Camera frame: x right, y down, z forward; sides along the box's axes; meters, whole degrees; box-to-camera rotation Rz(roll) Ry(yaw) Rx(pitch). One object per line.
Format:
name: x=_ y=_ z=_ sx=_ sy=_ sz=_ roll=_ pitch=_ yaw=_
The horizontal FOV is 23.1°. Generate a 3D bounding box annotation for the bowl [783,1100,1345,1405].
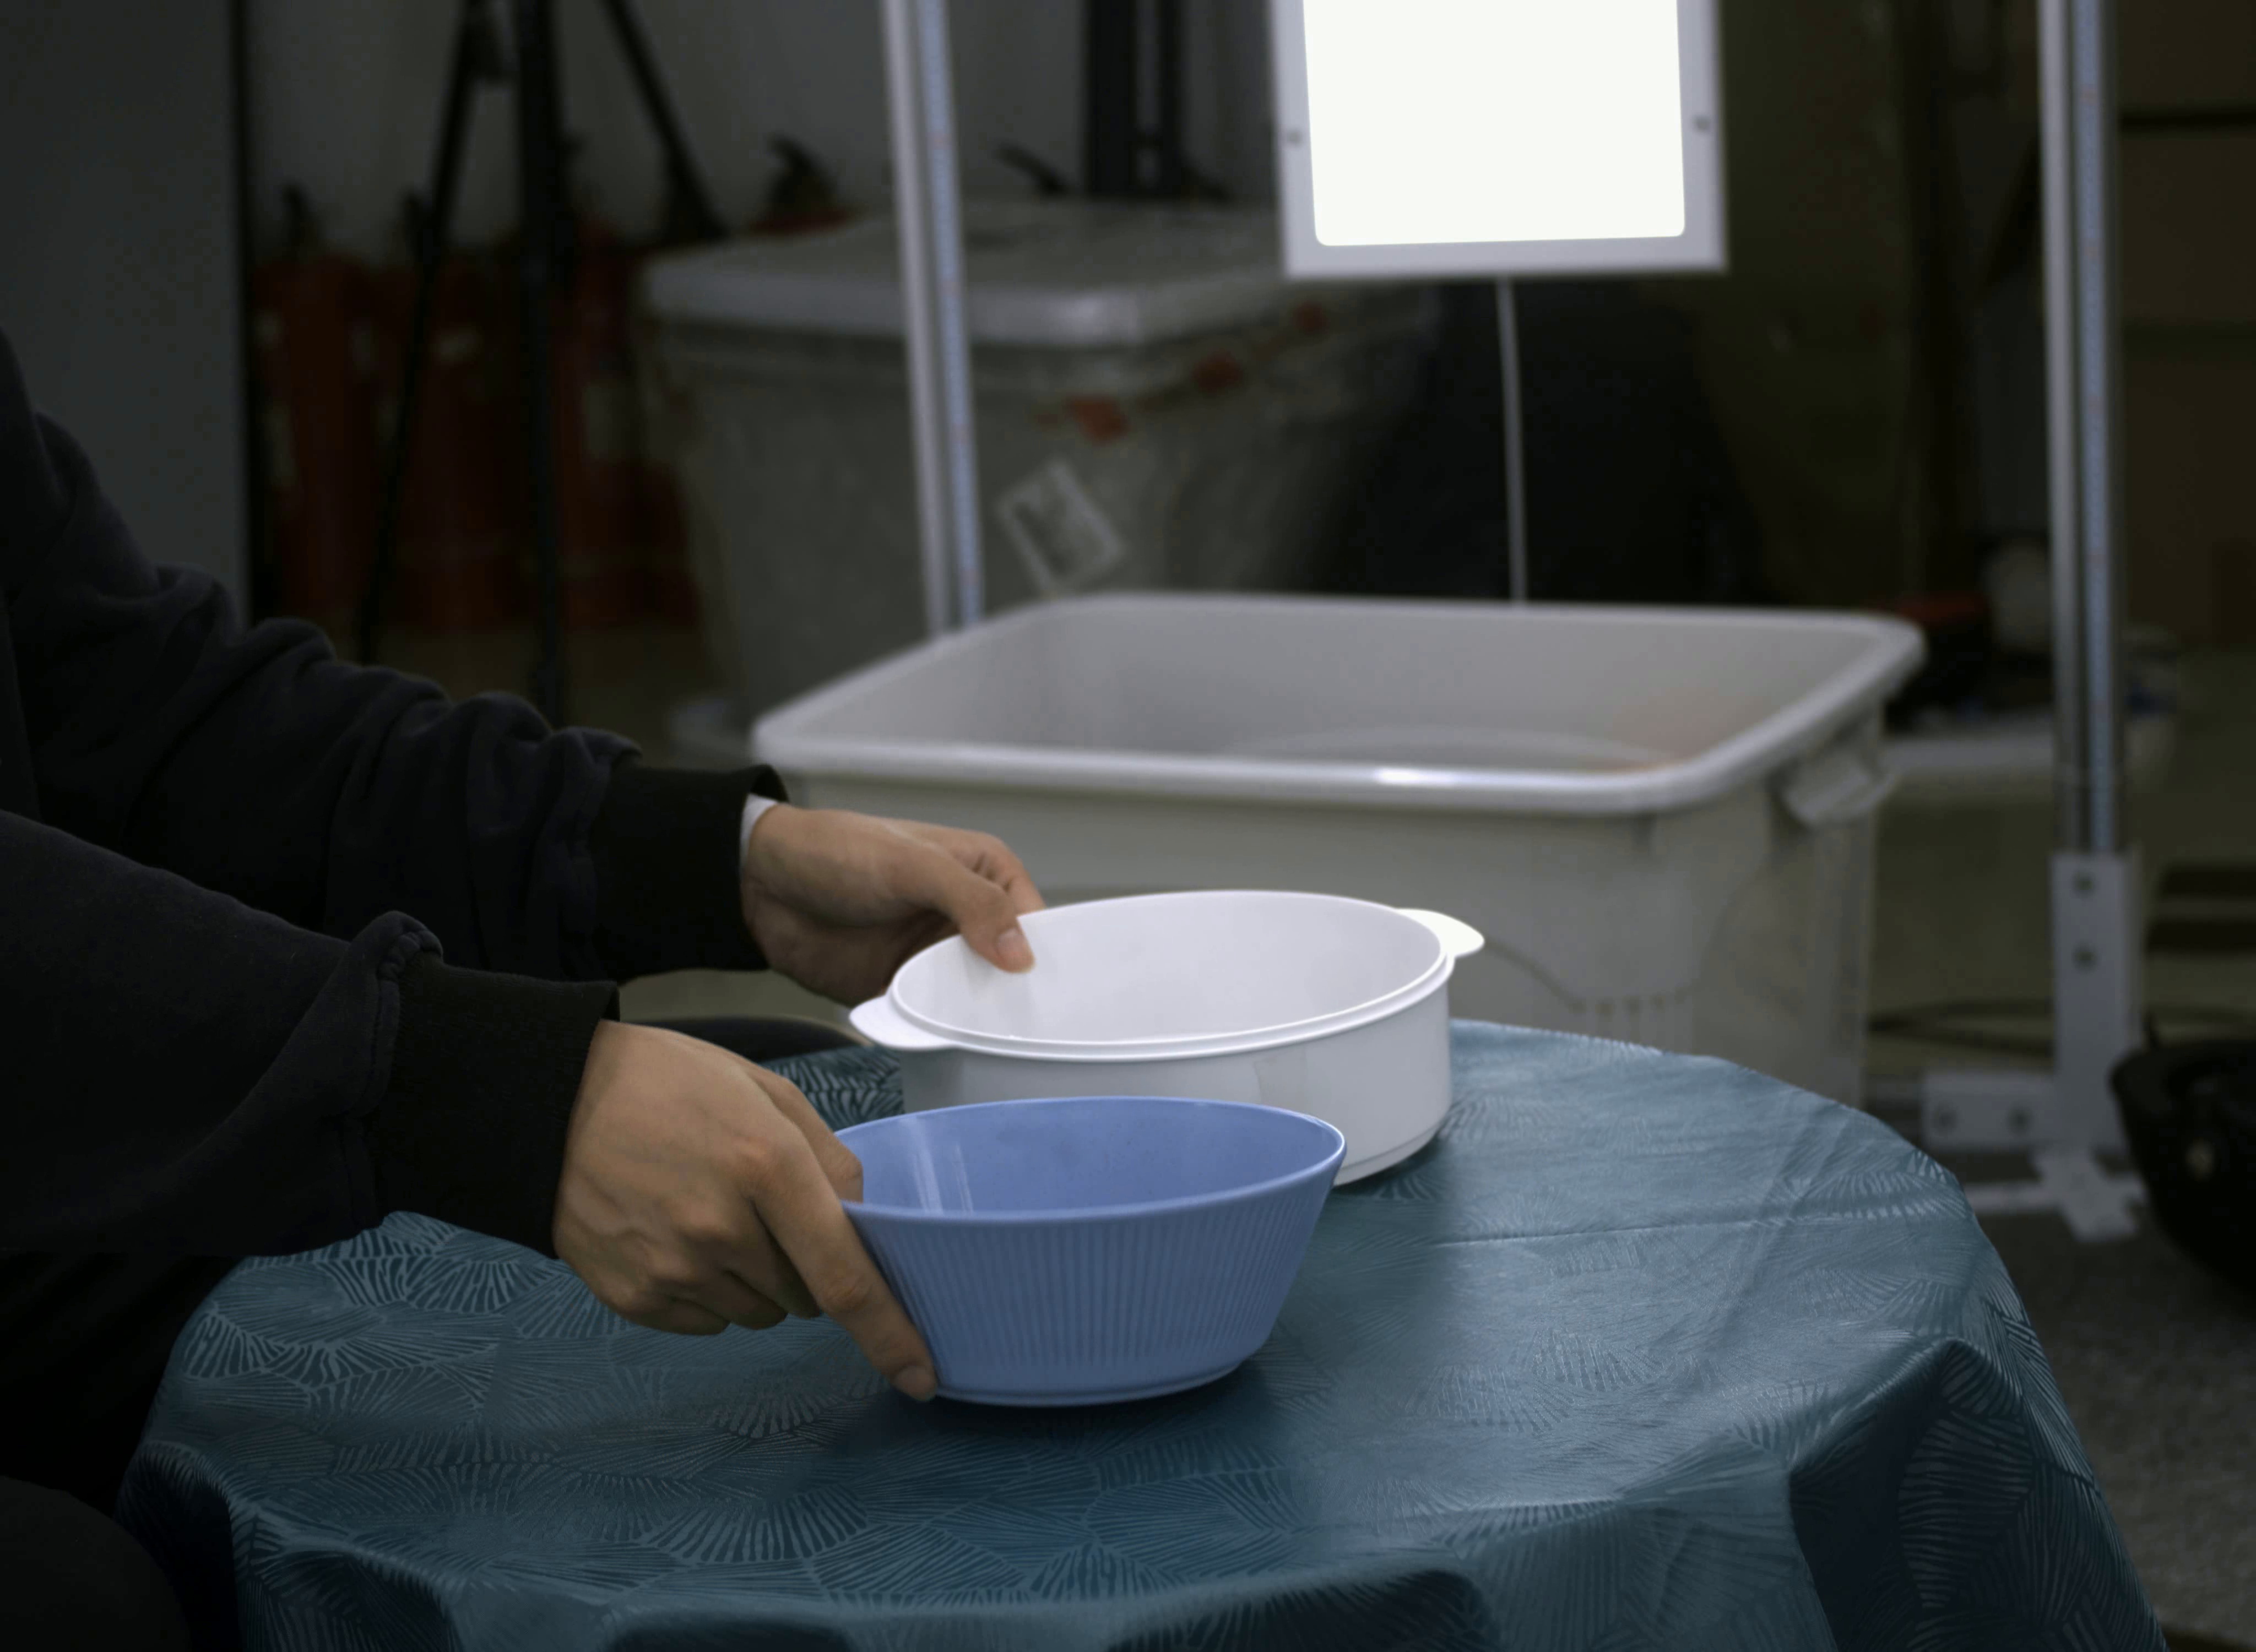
bowl: x=-0.018 y=0.133 z=1.708 sx=0.175 sy=0.070 sz=0.176 roll=-3 pitch=8 yaw=-1

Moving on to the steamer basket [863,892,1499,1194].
steamer basket: x=0.021 y=0.078 z=1.940 sx=0.226 sy=0.069 sz=0.204 roll=-7 pitch=14 yaw=-19
